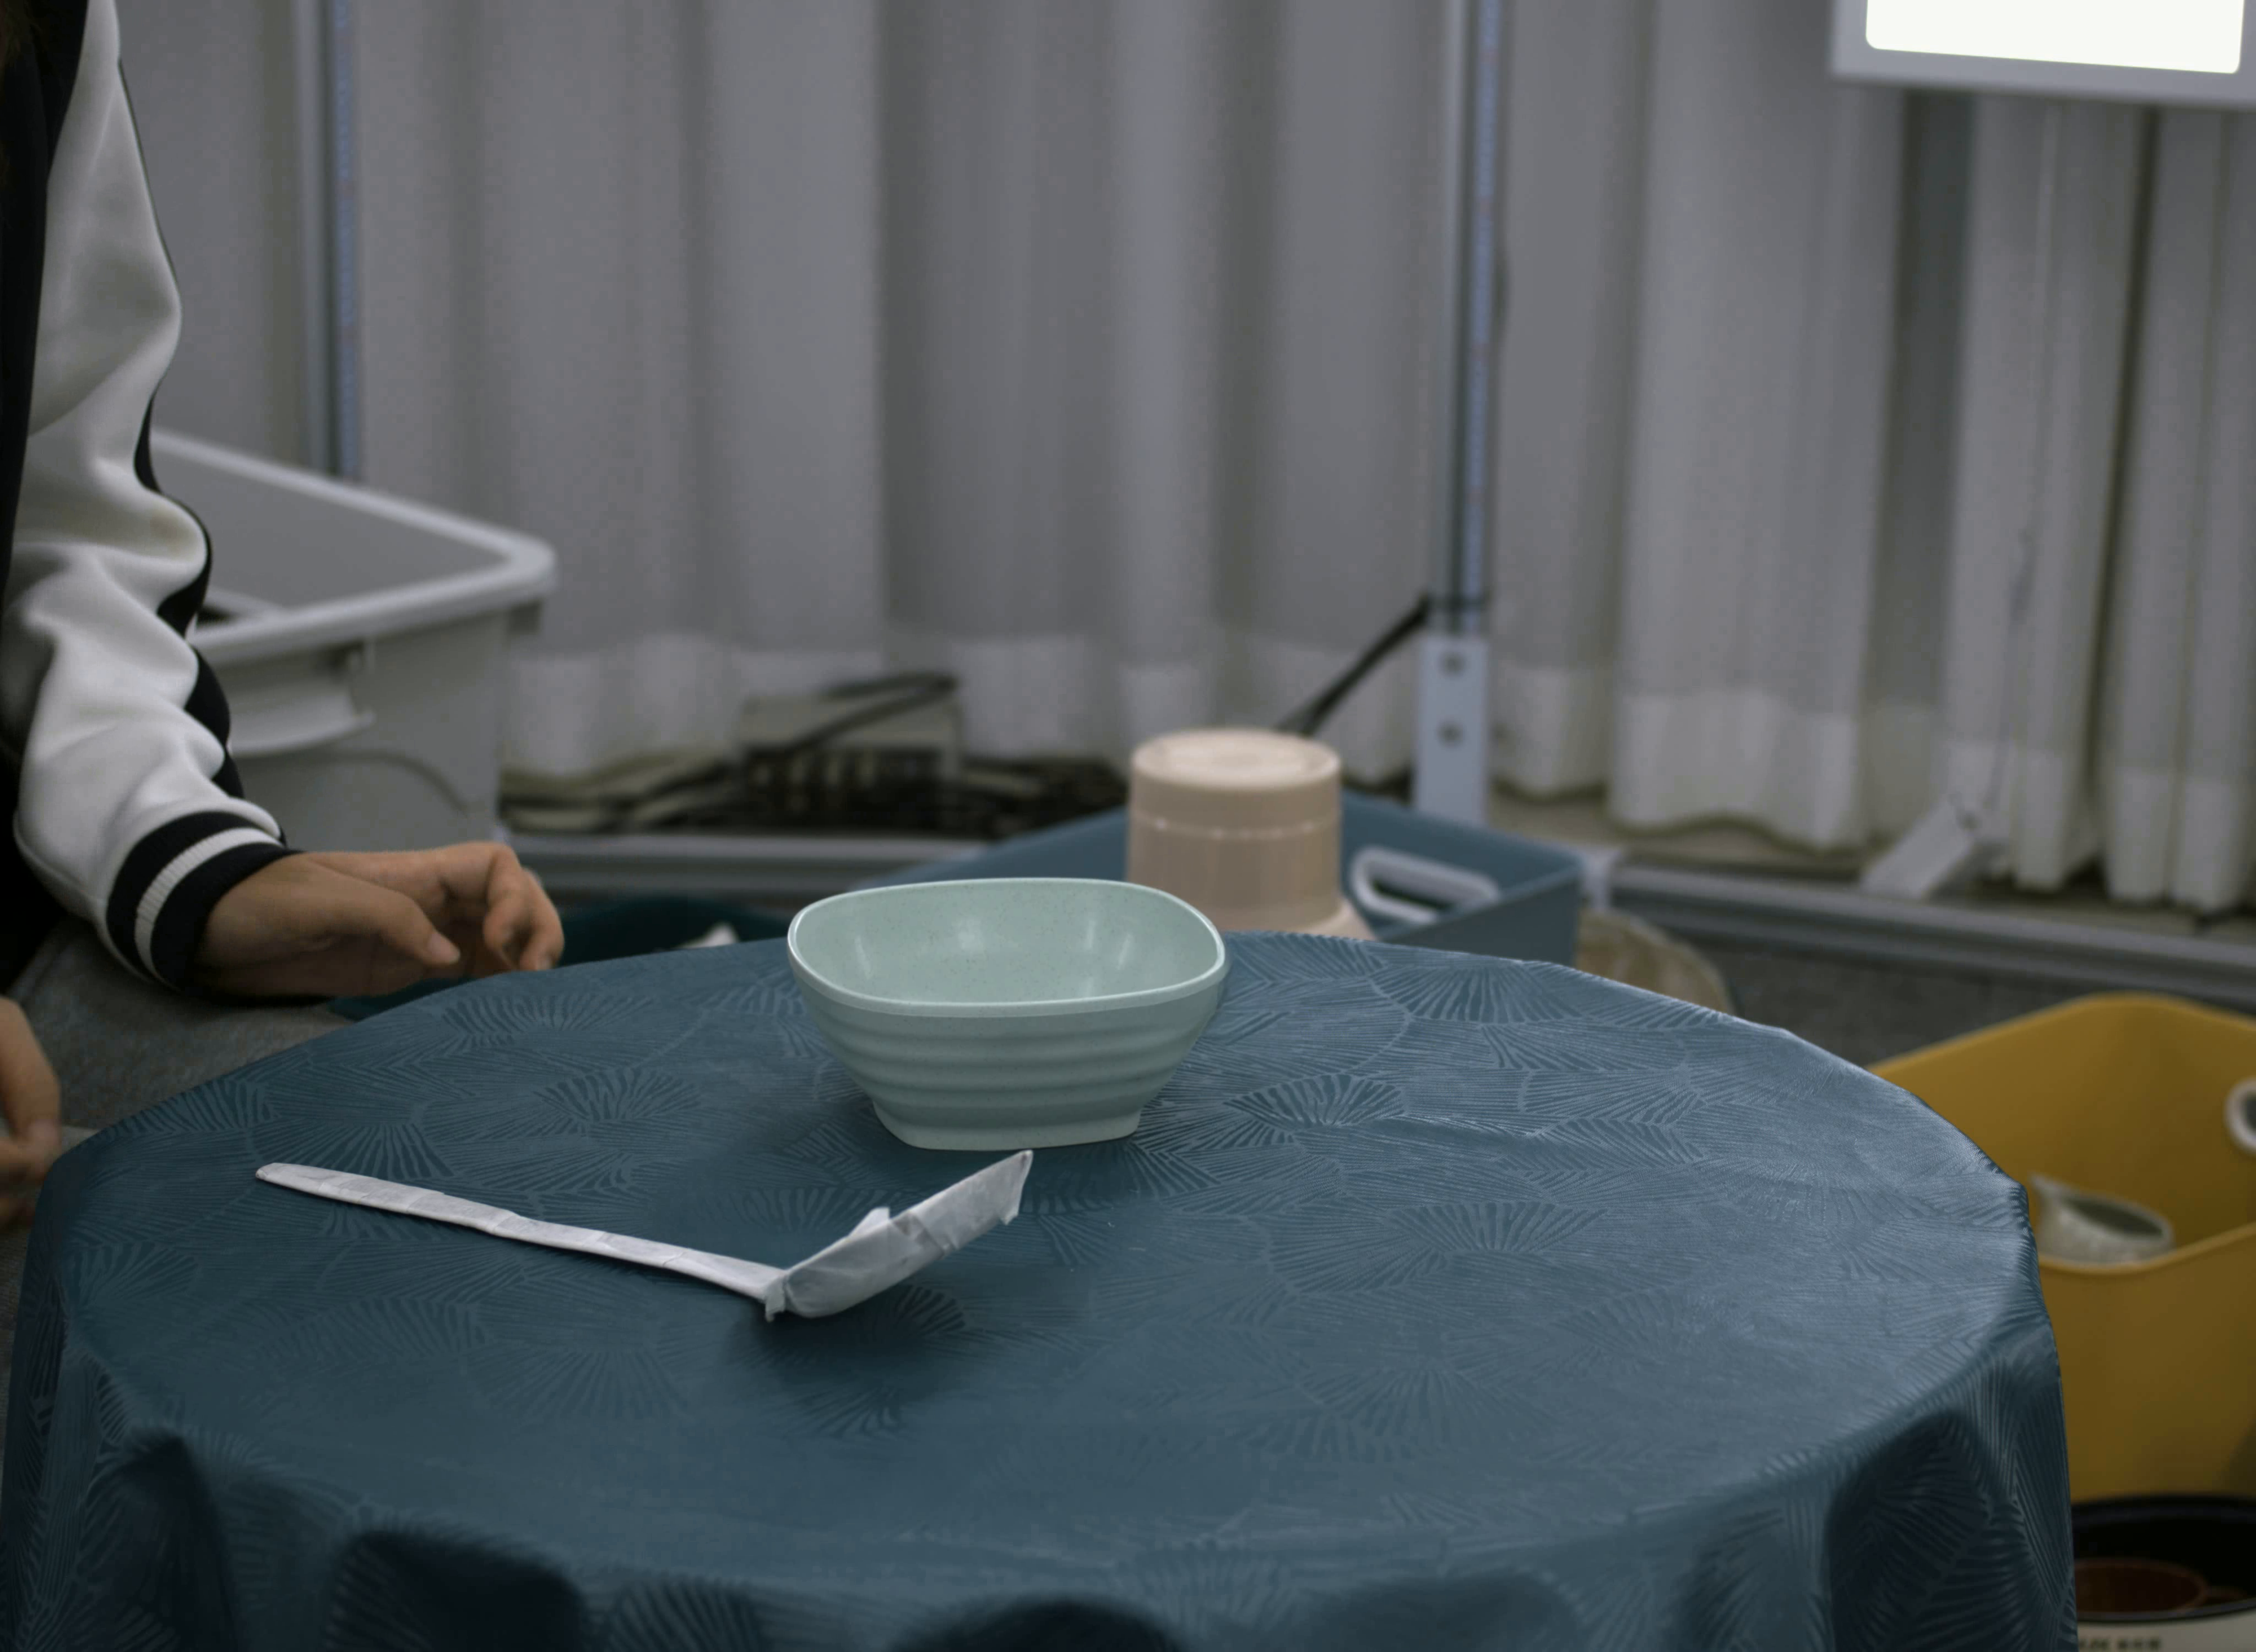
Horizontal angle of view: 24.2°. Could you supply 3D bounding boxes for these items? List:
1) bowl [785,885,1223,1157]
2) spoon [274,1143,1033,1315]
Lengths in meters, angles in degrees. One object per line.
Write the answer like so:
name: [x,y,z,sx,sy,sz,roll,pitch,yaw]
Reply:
bowl: [-0.040,0.065,1.690,0.151,0.059,0.150,1,16,0]
spoon: [-0.148,0.098,1.560,0.274,0.060,0.101,11,15,34]
